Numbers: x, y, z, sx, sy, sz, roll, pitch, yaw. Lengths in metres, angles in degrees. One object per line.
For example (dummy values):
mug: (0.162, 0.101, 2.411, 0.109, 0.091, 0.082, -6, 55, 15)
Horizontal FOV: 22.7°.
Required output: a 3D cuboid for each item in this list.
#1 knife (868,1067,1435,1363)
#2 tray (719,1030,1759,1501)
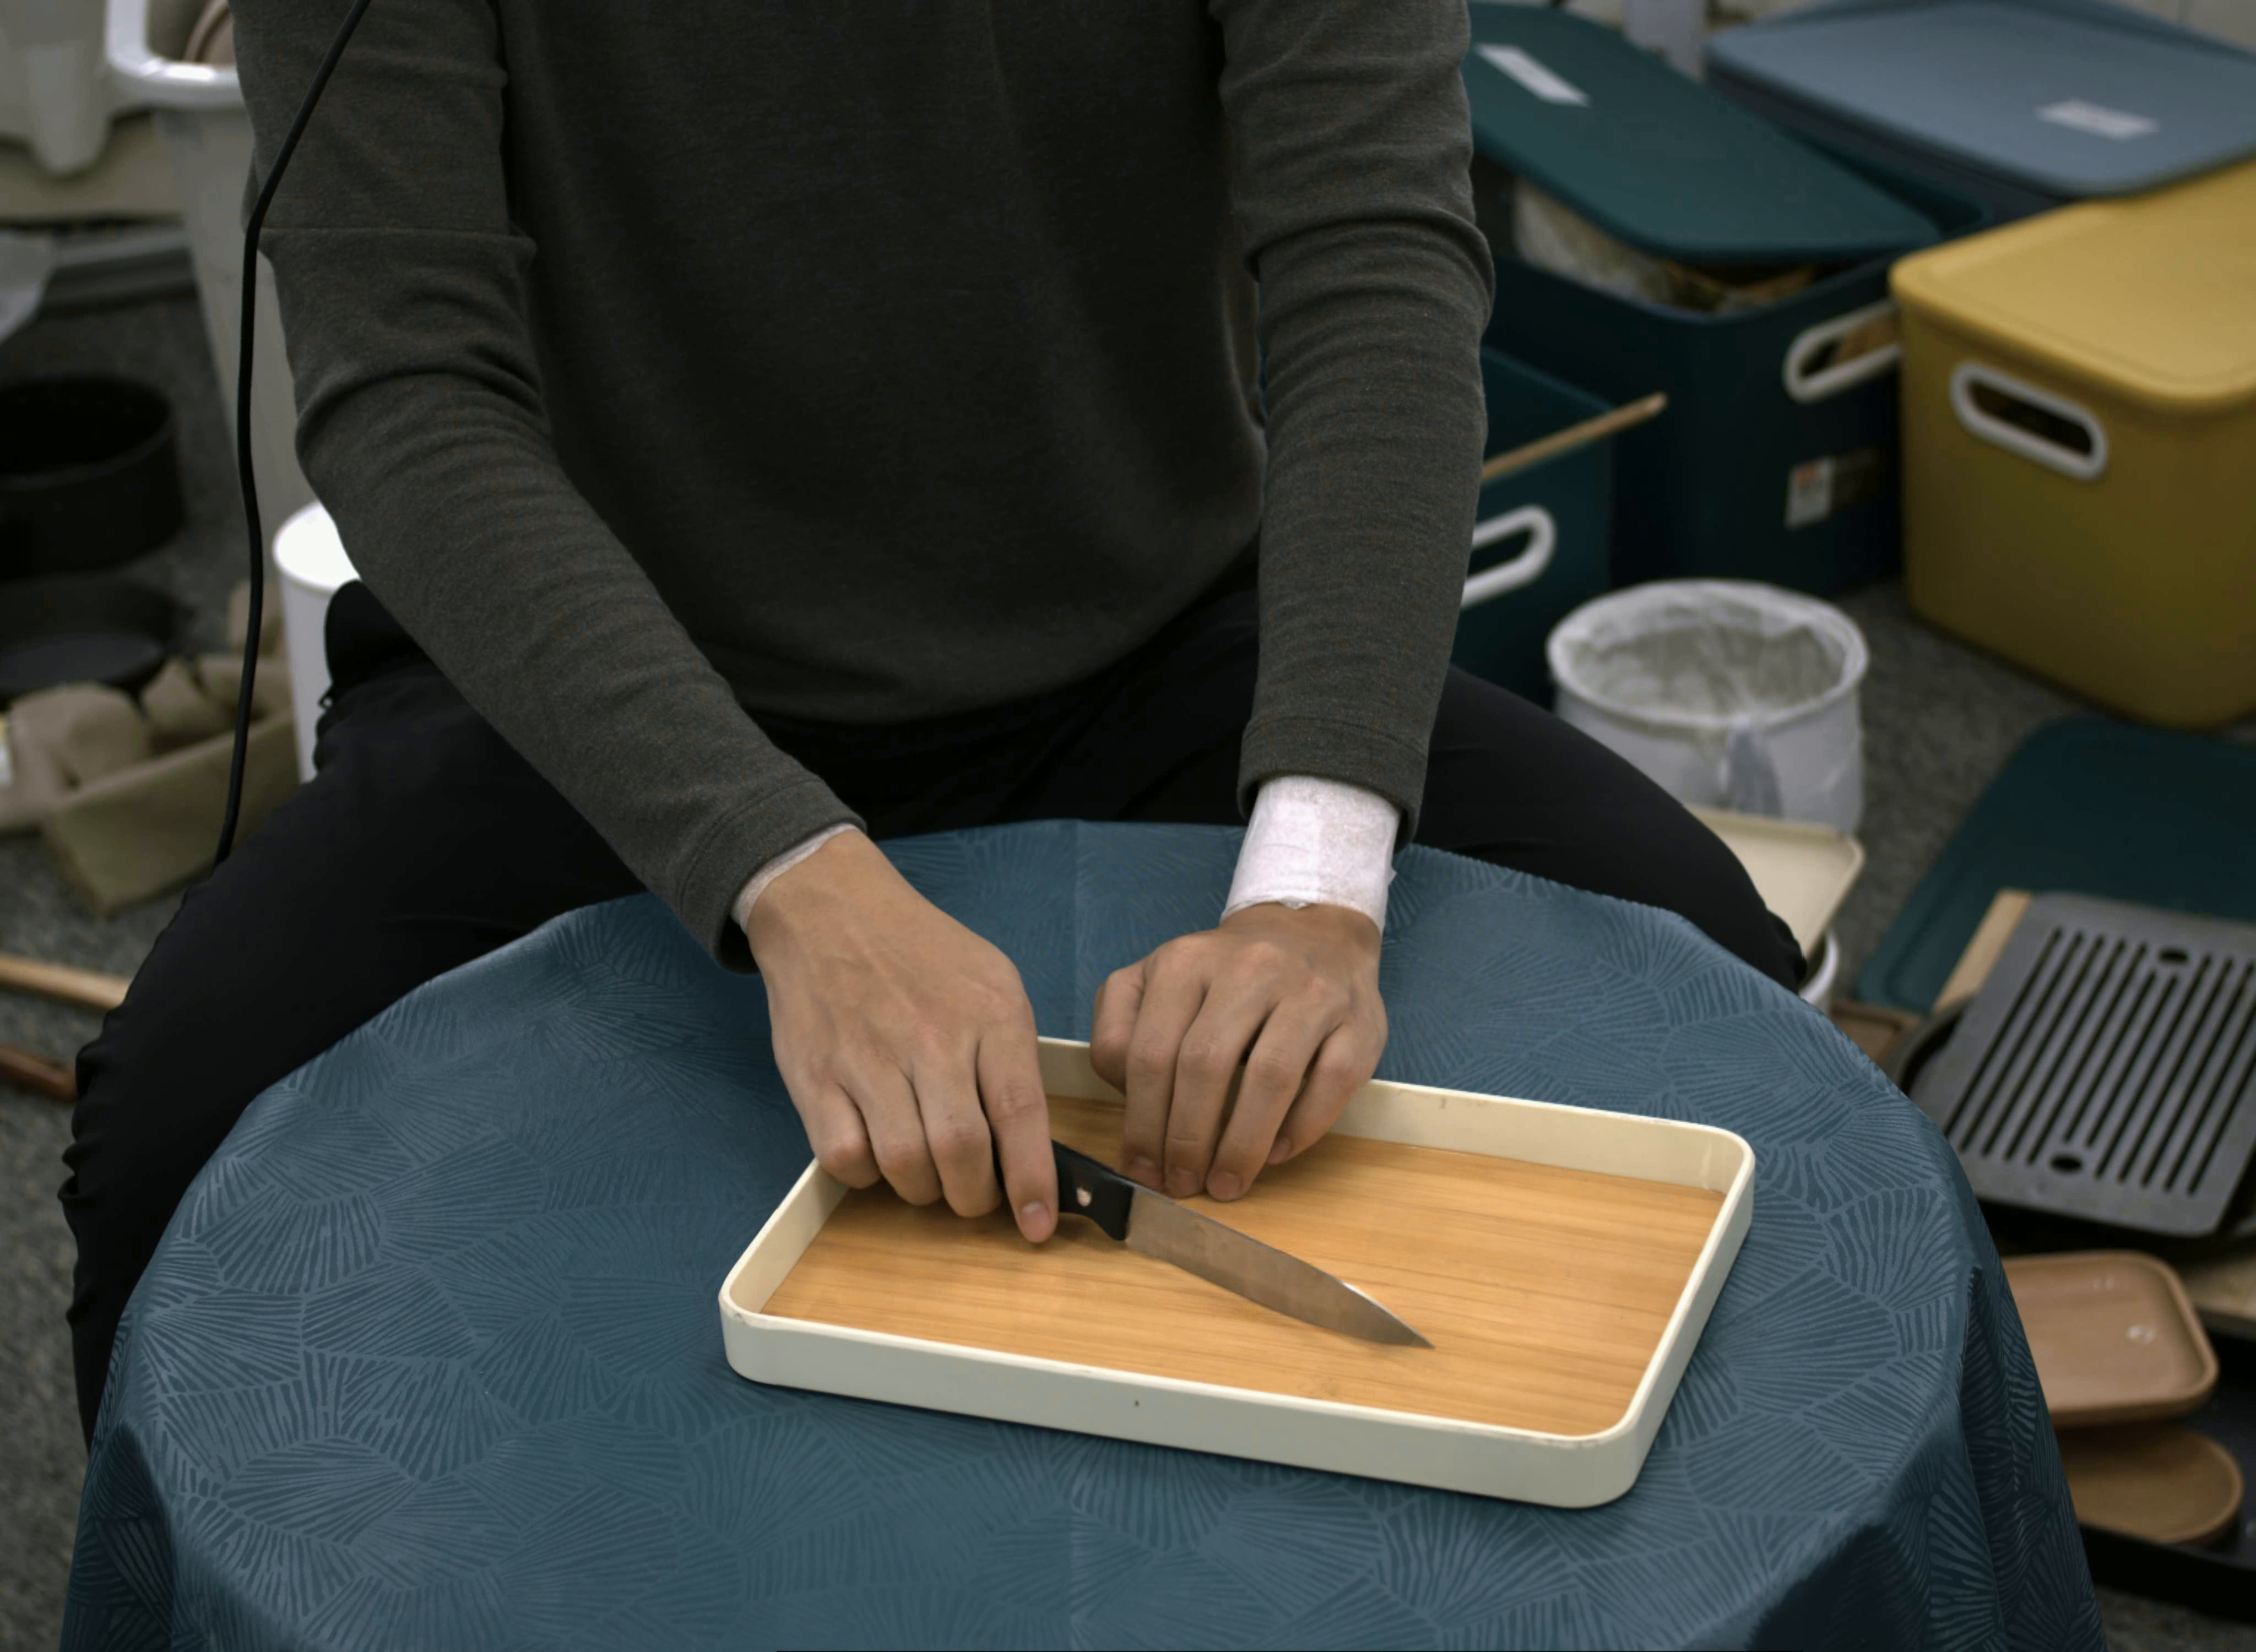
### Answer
knife: (0.006, 0.124, 1.806, 0.238, 0.024, 0.016, 23, 26, 35)
tray: (0.037, 0.137, 1.800, 0.298, 0.027, 0.195, 7, 28, 18)
